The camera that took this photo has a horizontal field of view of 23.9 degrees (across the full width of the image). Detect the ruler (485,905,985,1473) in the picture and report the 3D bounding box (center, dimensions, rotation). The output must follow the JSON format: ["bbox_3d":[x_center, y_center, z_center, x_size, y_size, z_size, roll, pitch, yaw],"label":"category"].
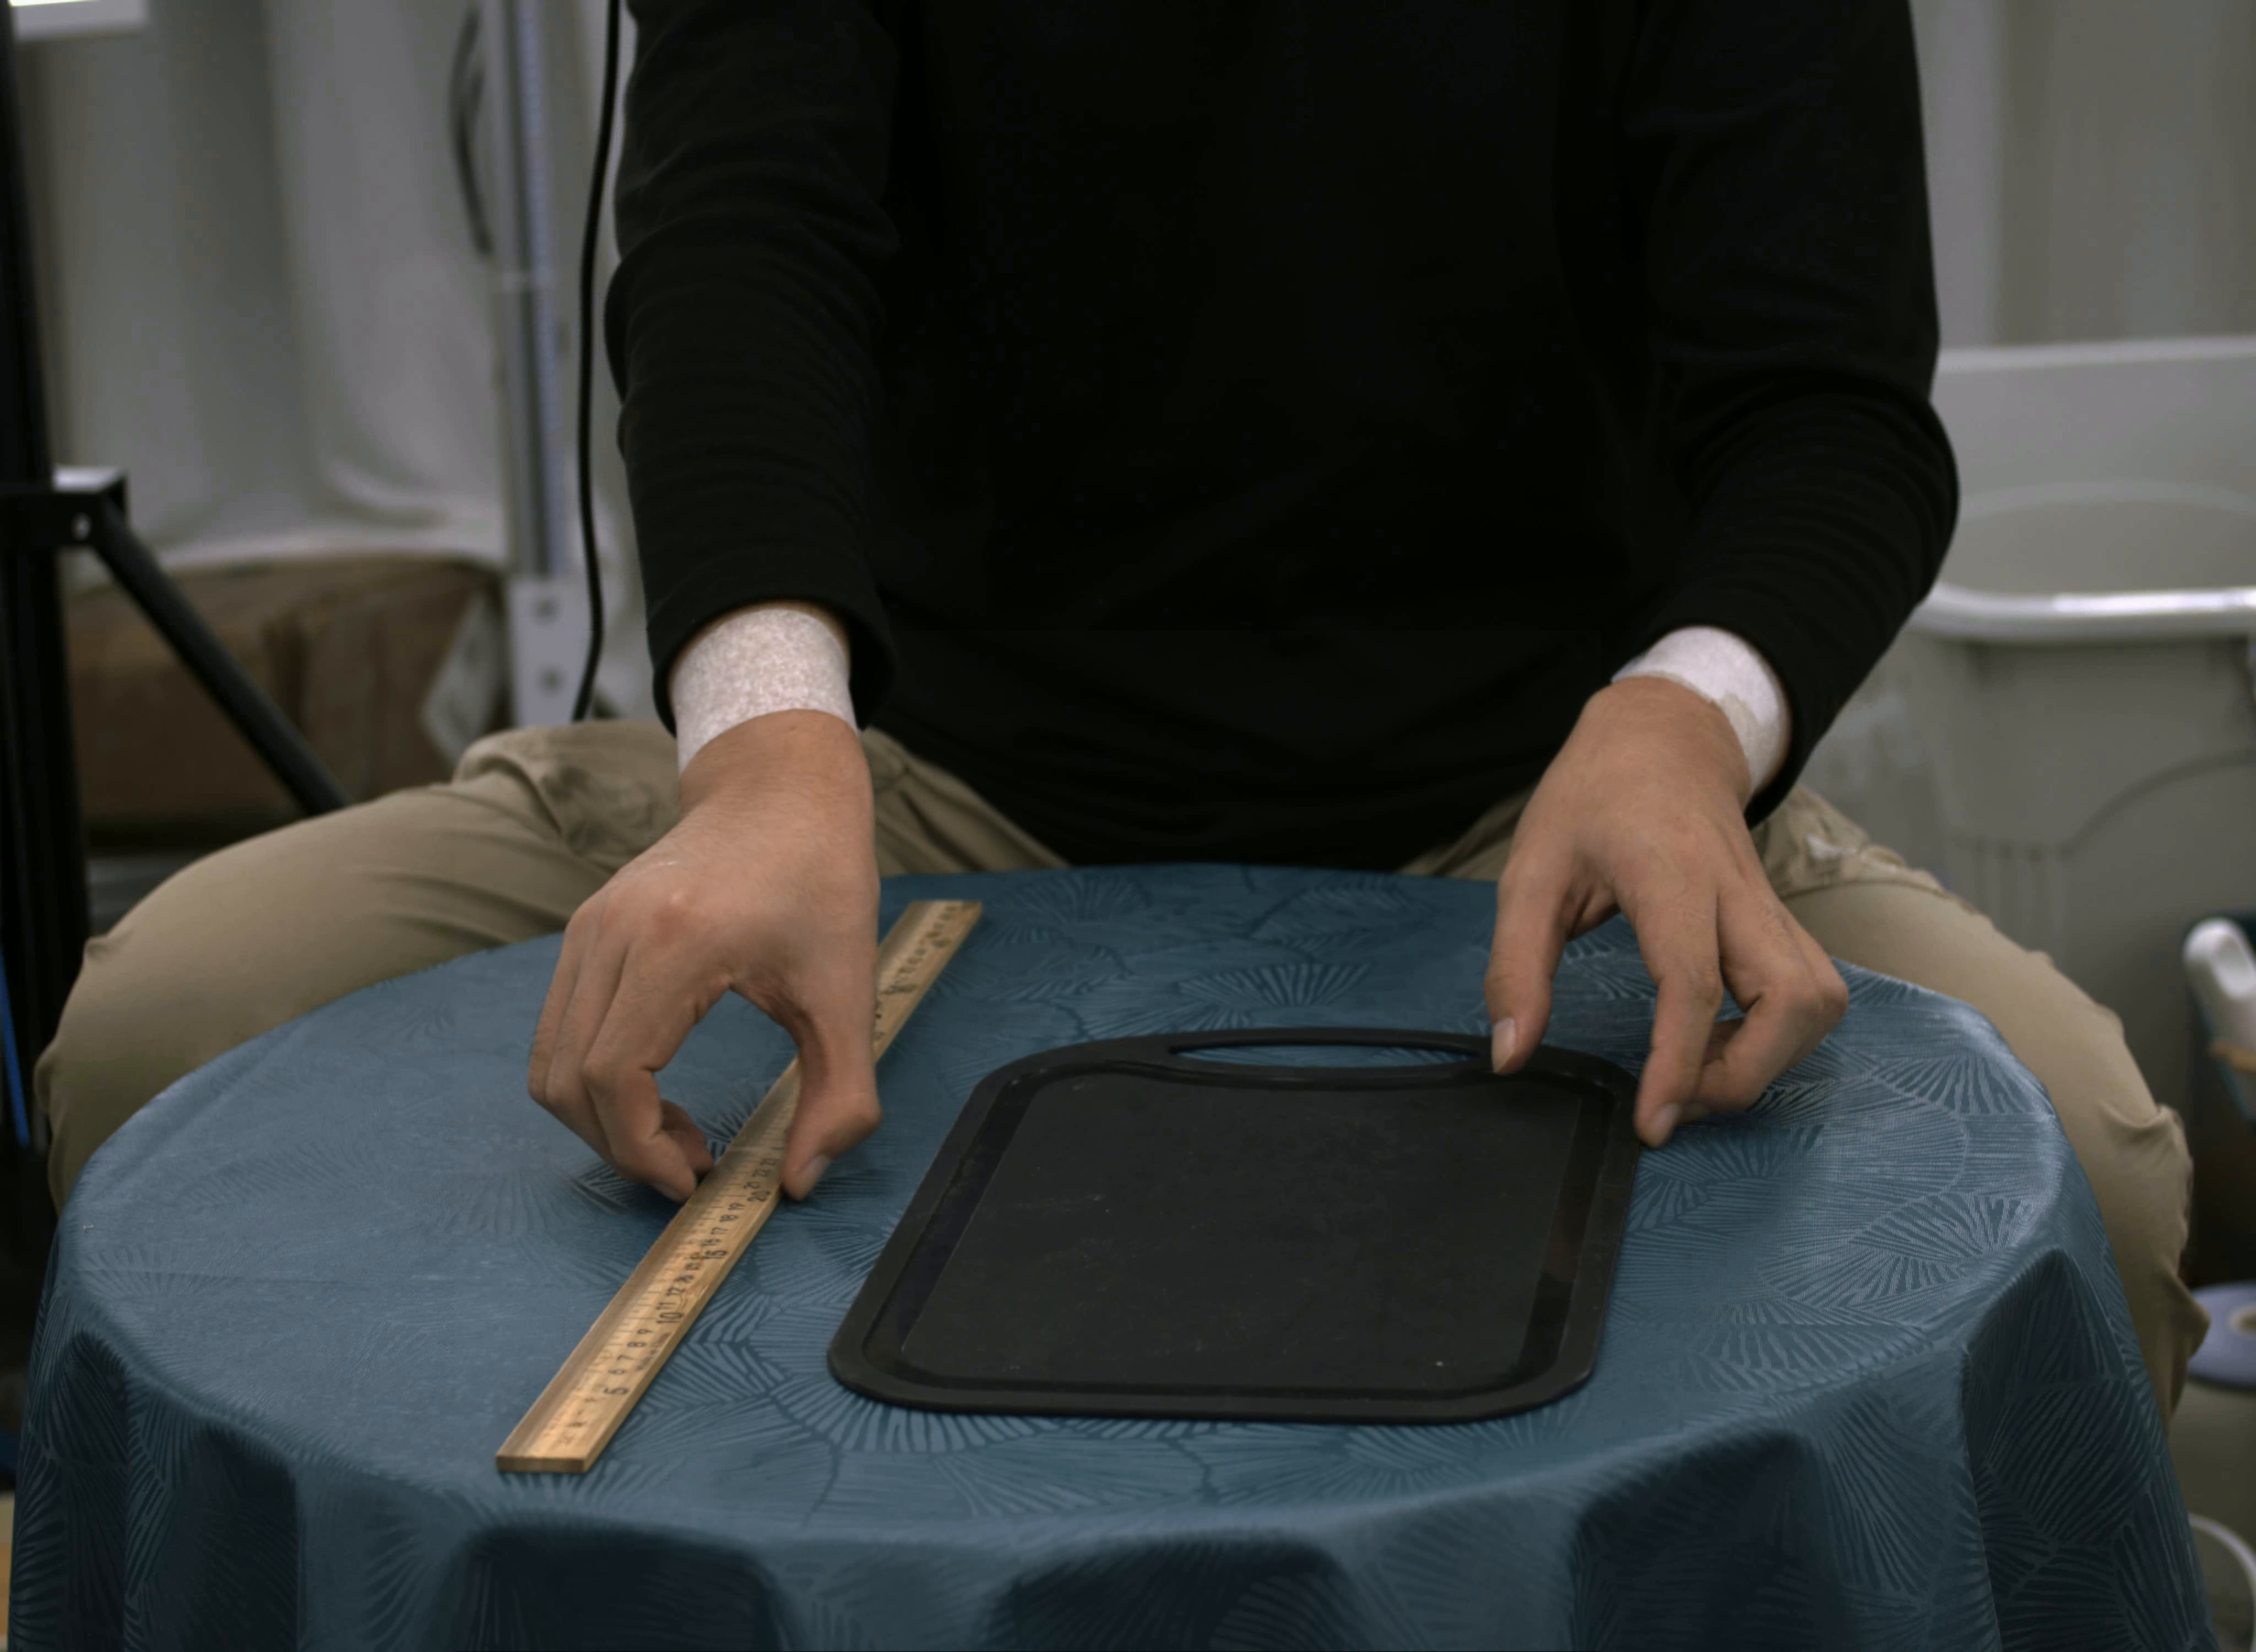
[{"bbox_3d":[-0.107,0.097,1.605,0.027,0.006,0.498,2,16,11],"label":"ruler"}]

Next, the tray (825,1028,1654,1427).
[{"bbox_3d":[0.040,0.108,1.535,0.212,0.010,0.324,0,16,11],"label":"tray"}]
